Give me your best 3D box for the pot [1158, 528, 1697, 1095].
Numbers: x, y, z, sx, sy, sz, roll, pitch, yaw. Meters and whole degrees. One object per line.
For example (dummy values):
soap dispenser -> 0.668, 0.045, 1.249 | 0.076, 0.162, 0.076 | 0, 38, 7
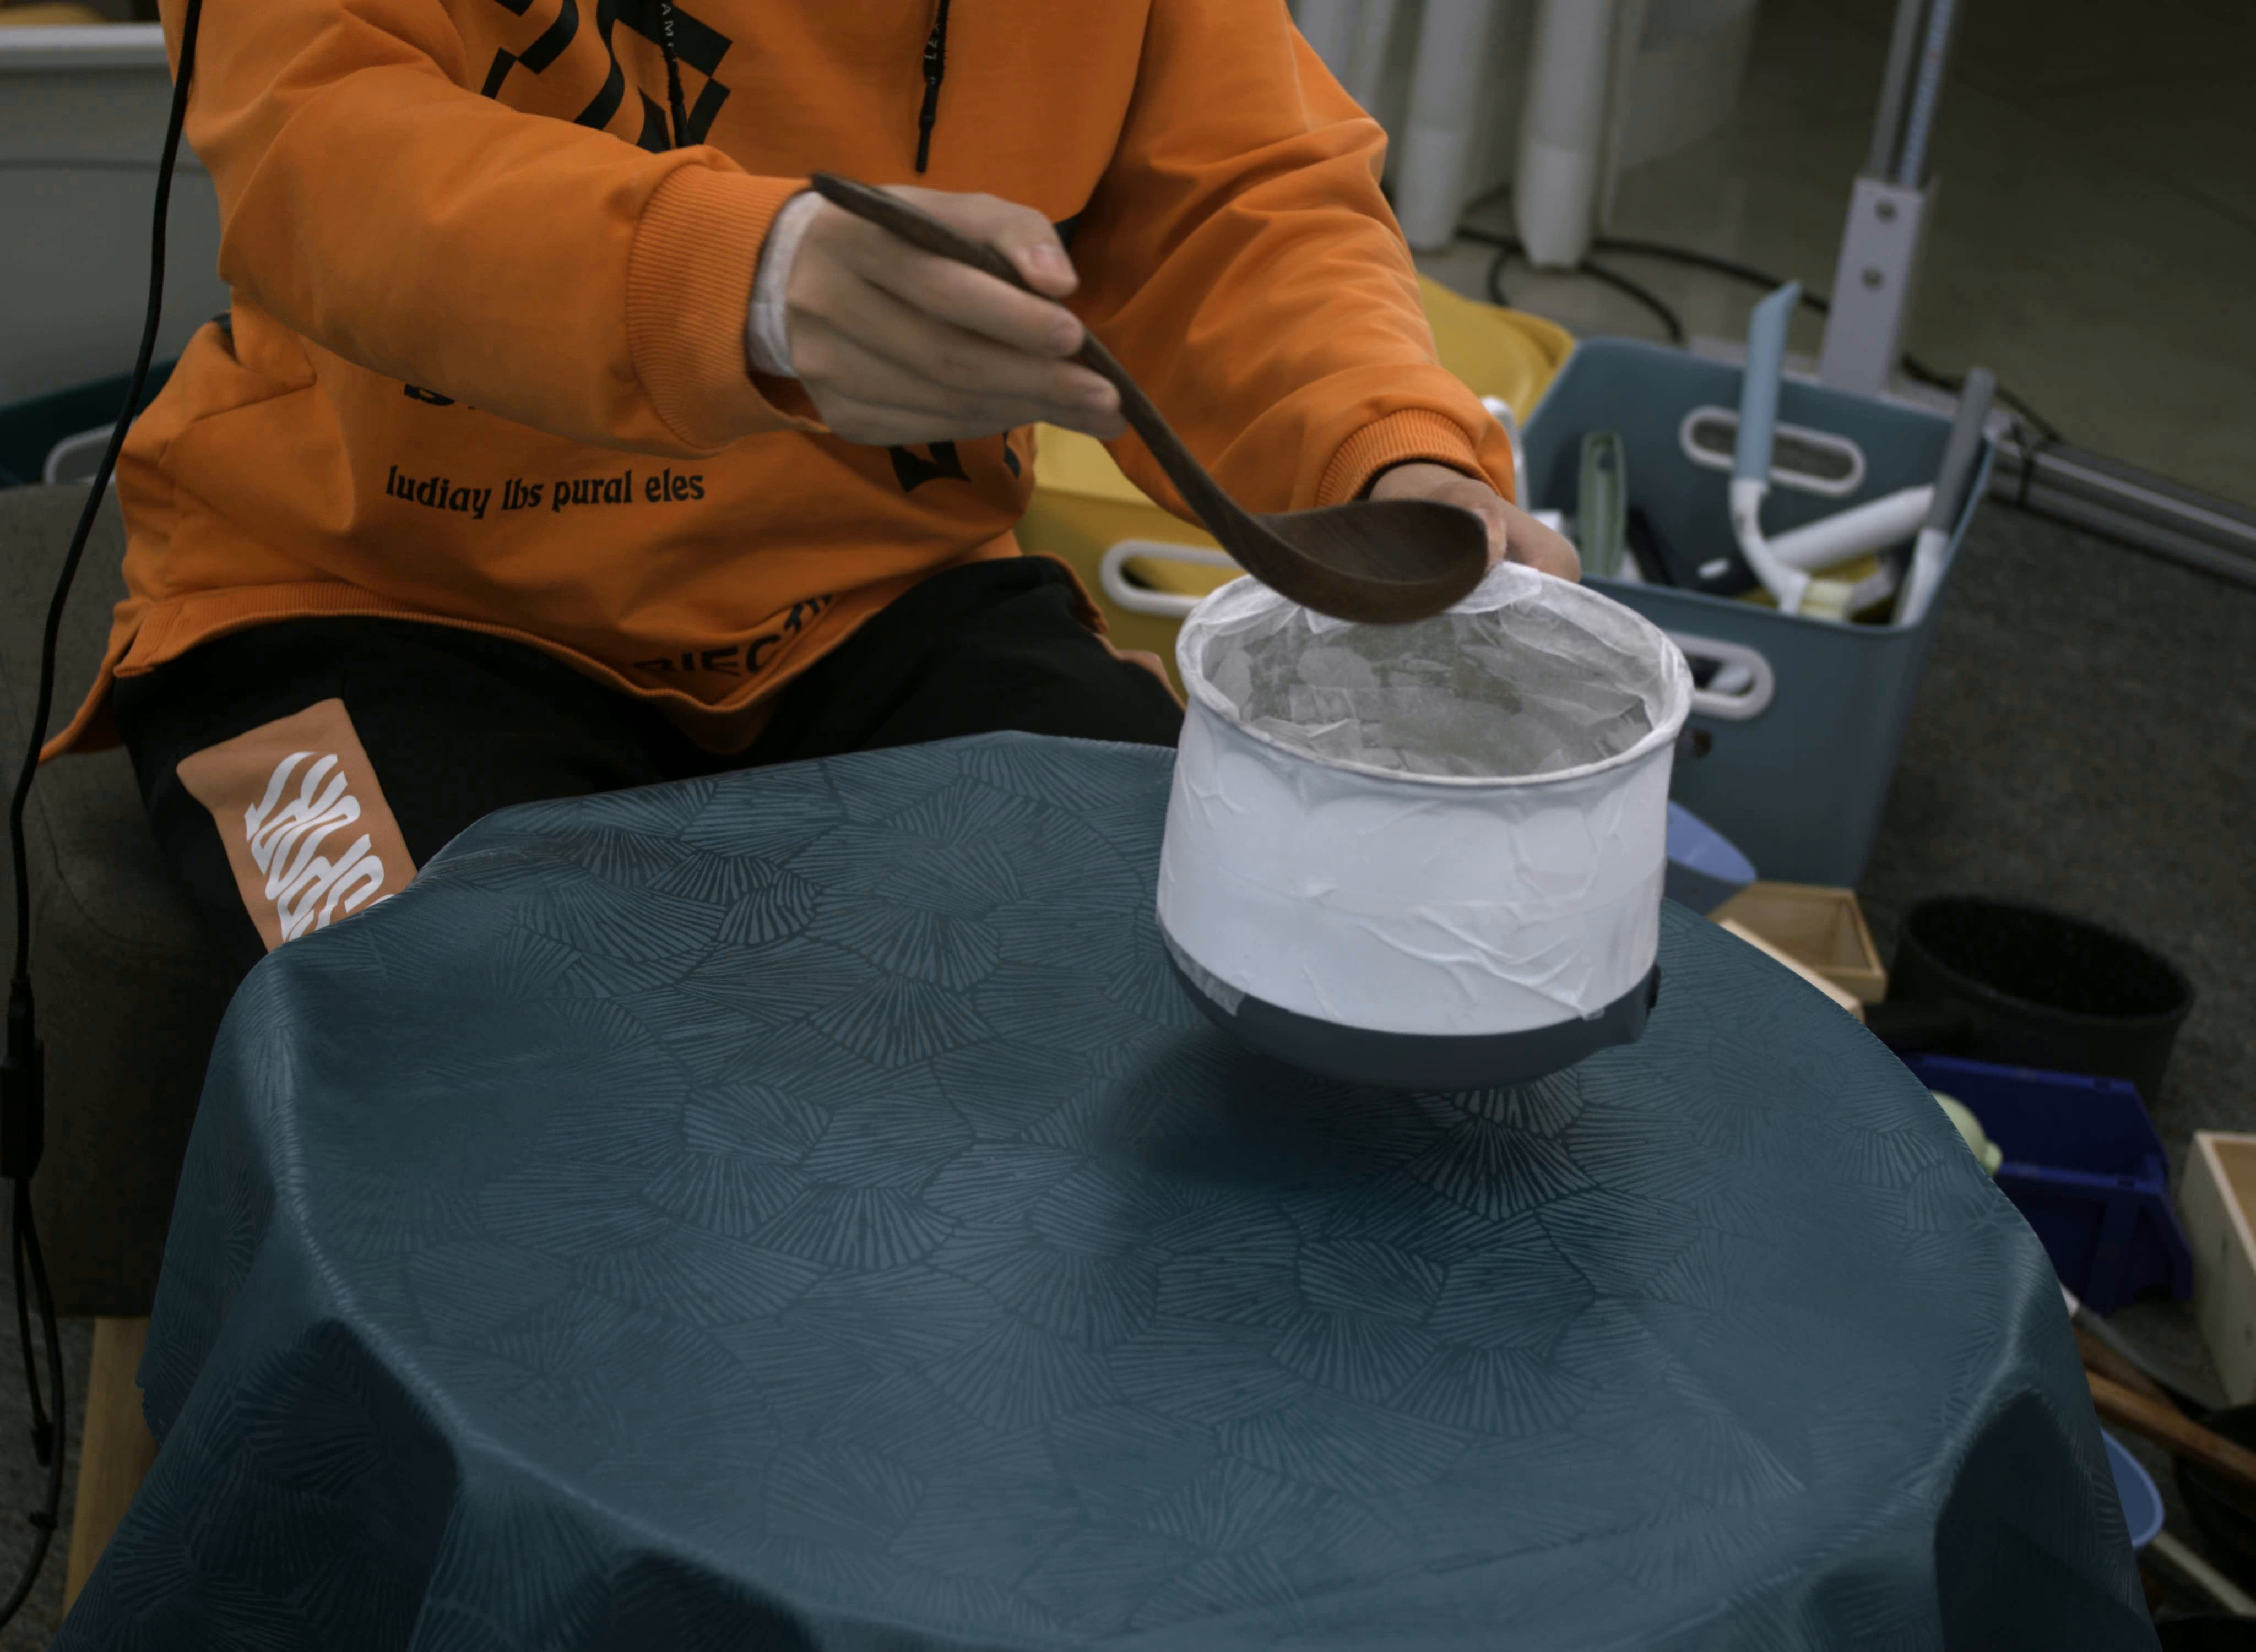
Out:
pot -> 0.105, -0.013, 1.859 | 0.178, 0.136, 0.234 | 8, 28, 6

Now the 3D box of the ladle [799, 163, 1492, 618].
ladle -> 0.011, -0.152, 1.713 | 0.272, 0.071, 0.076 | 40, -1, -30
